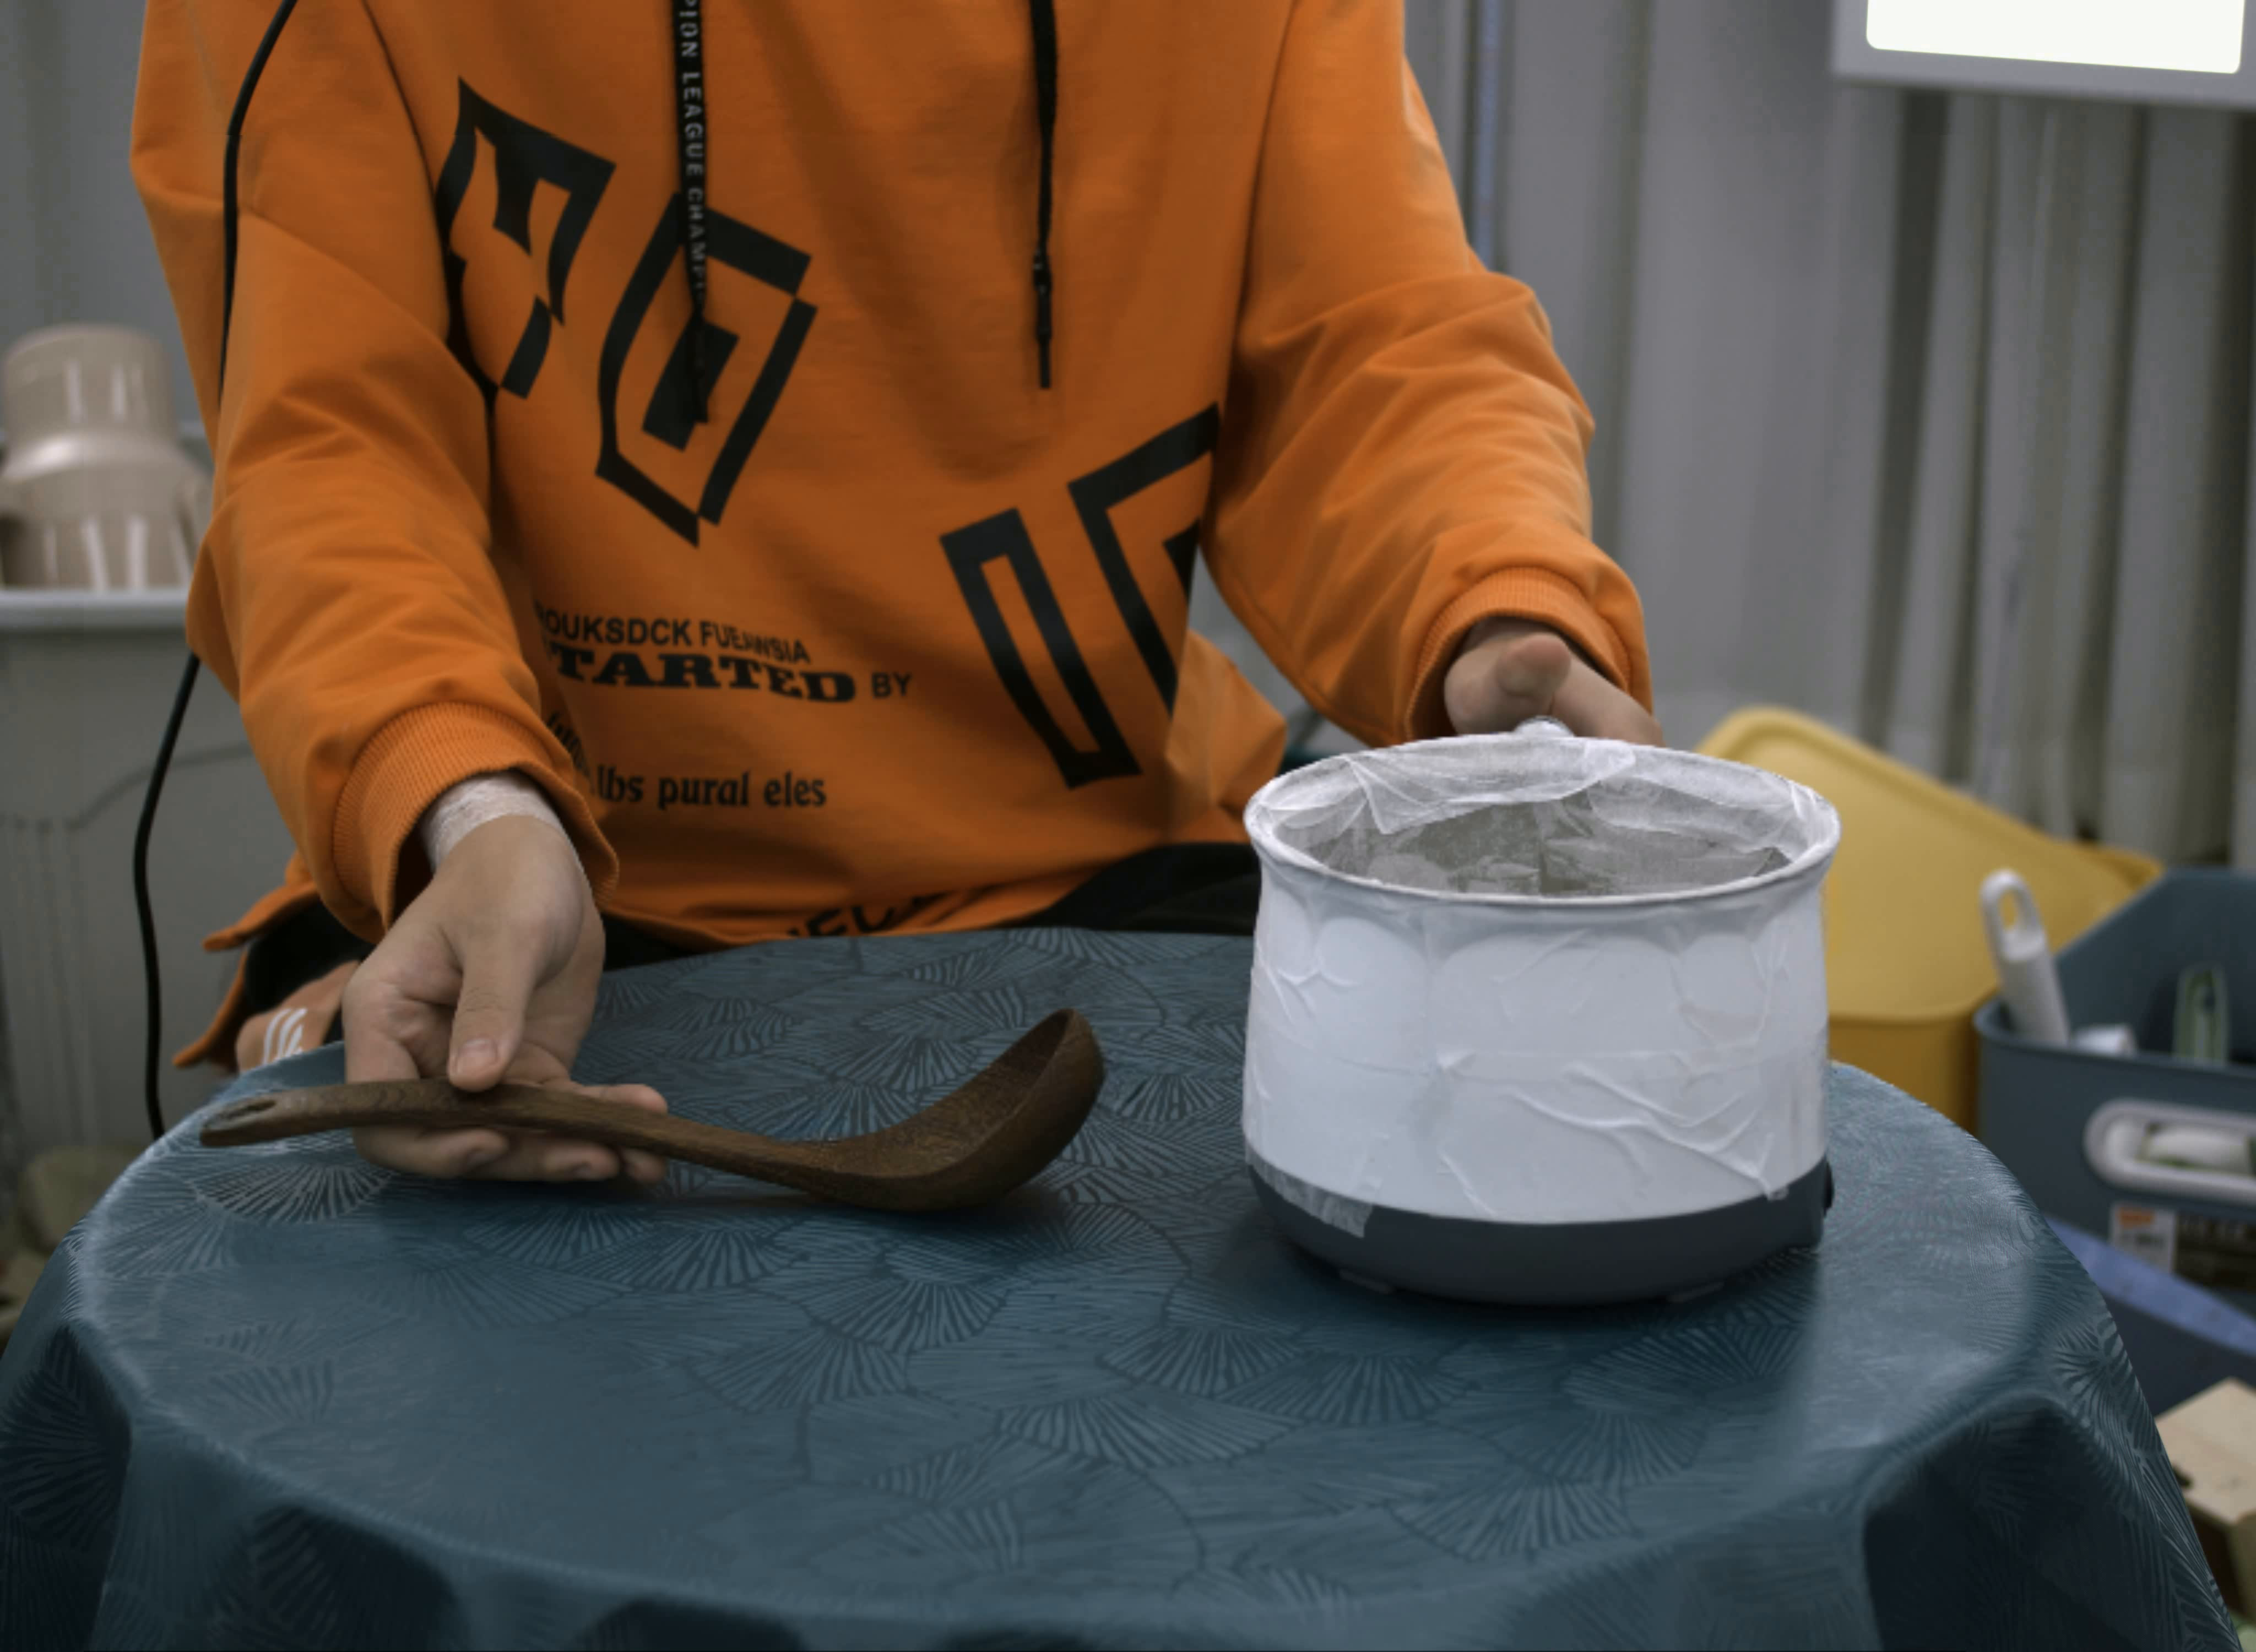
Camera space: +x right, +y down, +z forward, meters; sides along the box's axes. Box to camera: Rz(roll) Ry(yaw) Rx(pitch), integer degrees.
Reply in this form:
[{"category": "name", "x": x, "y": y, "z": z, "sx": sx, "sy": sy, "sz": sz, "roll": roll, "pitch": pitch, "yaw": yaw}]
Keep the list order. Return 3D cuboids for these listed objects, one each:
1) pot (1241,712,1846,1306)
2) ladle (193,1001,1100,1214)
[{"category": "pot", "x": 0.123, "y": 0.050, "z": 1.593, "sx": 0.178, "sy": 0.138, "sz": 0.232, "roll": 2, "pitch": 16, "yaw": 2}, {"category": "ladle", "x": -0.146, "y": 0.075, "z": 1.599, "sx": 0.273, "sy": 0.072, "sz": 0.075, "roll": 6, "pitch": 15, "yaw": 0}]
